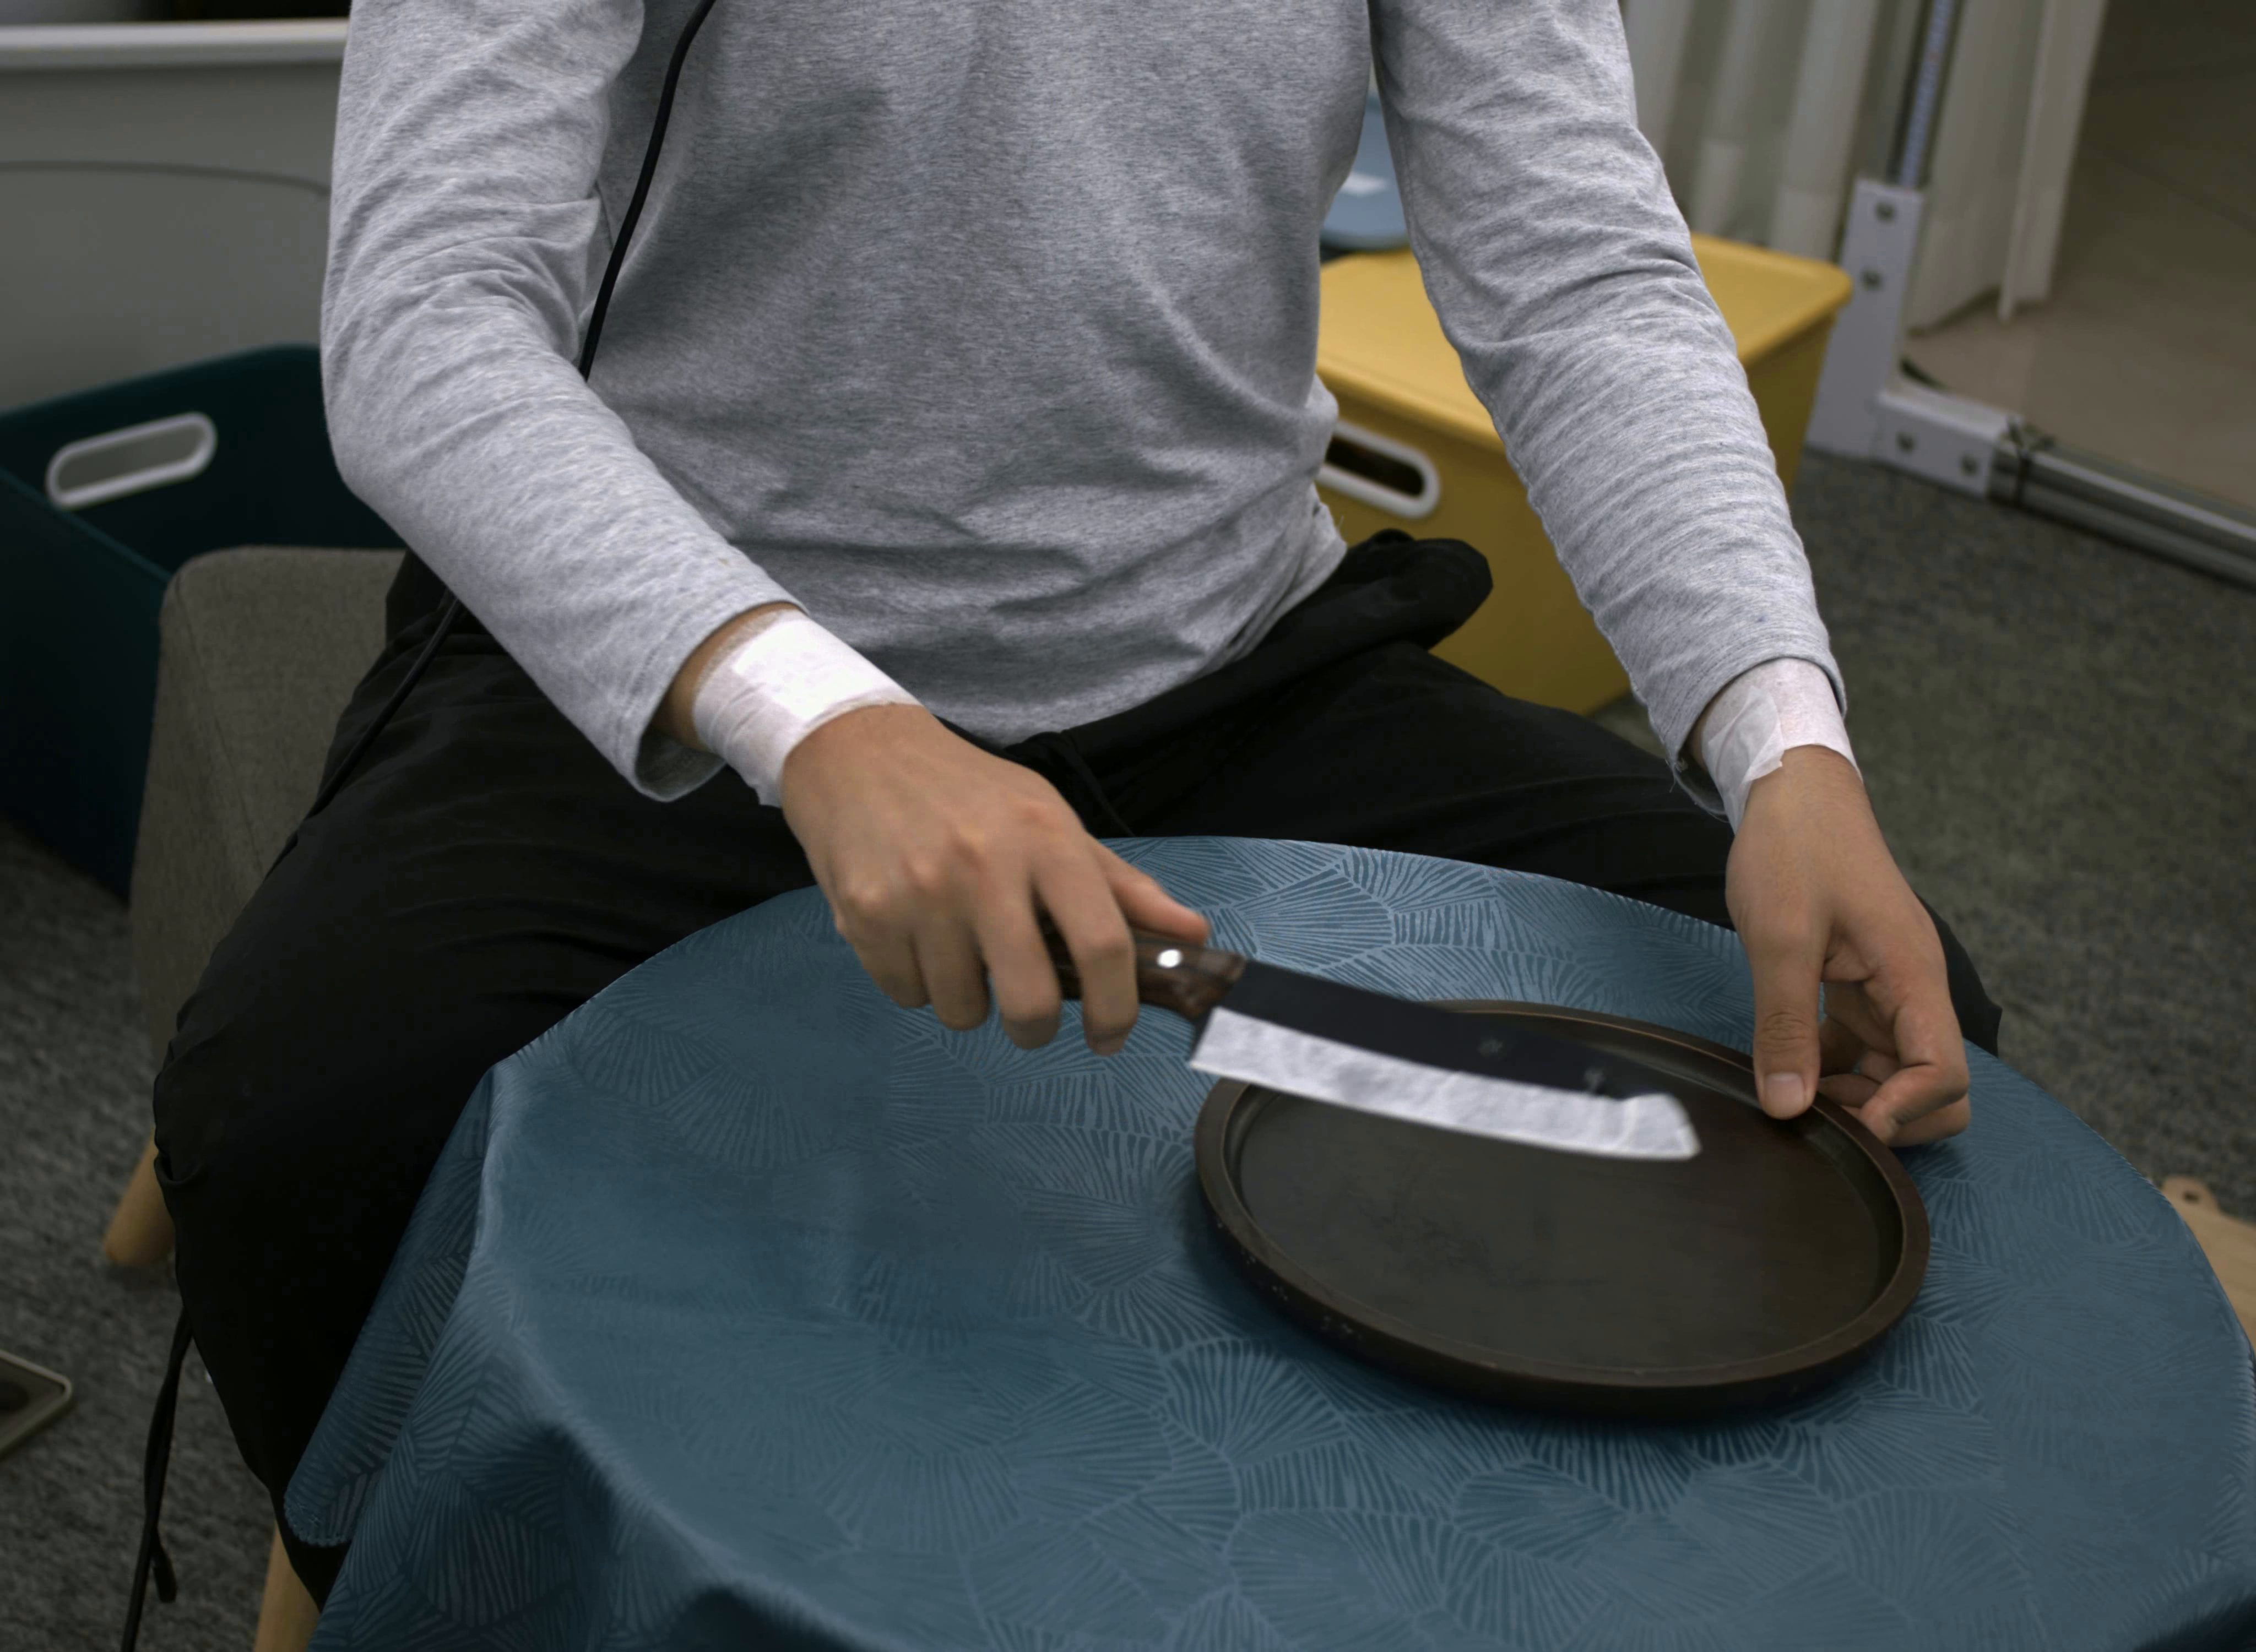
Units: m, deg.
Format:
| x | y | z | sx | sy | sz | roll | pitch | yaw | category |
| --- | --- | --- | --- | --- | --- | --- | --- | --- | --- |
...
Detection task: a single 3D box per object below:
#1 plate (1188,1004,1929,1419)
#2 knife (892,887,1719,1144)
| x | y | z | sx | sy | sz | roll | pitch | yaw | category |
| --- | --- | --- | --- | --- | --- | --- | --- | --- | --- |
| 0.145 | 0.128 | 1.802 | 0.254 | 0.029 | 0.256 | 3 | 26 | -2 | plate |
| 0.053 | 0.061 | 1.715 | 0.290 | 0.020 | 0.050 | 14 | 60 | 19 | knife |
